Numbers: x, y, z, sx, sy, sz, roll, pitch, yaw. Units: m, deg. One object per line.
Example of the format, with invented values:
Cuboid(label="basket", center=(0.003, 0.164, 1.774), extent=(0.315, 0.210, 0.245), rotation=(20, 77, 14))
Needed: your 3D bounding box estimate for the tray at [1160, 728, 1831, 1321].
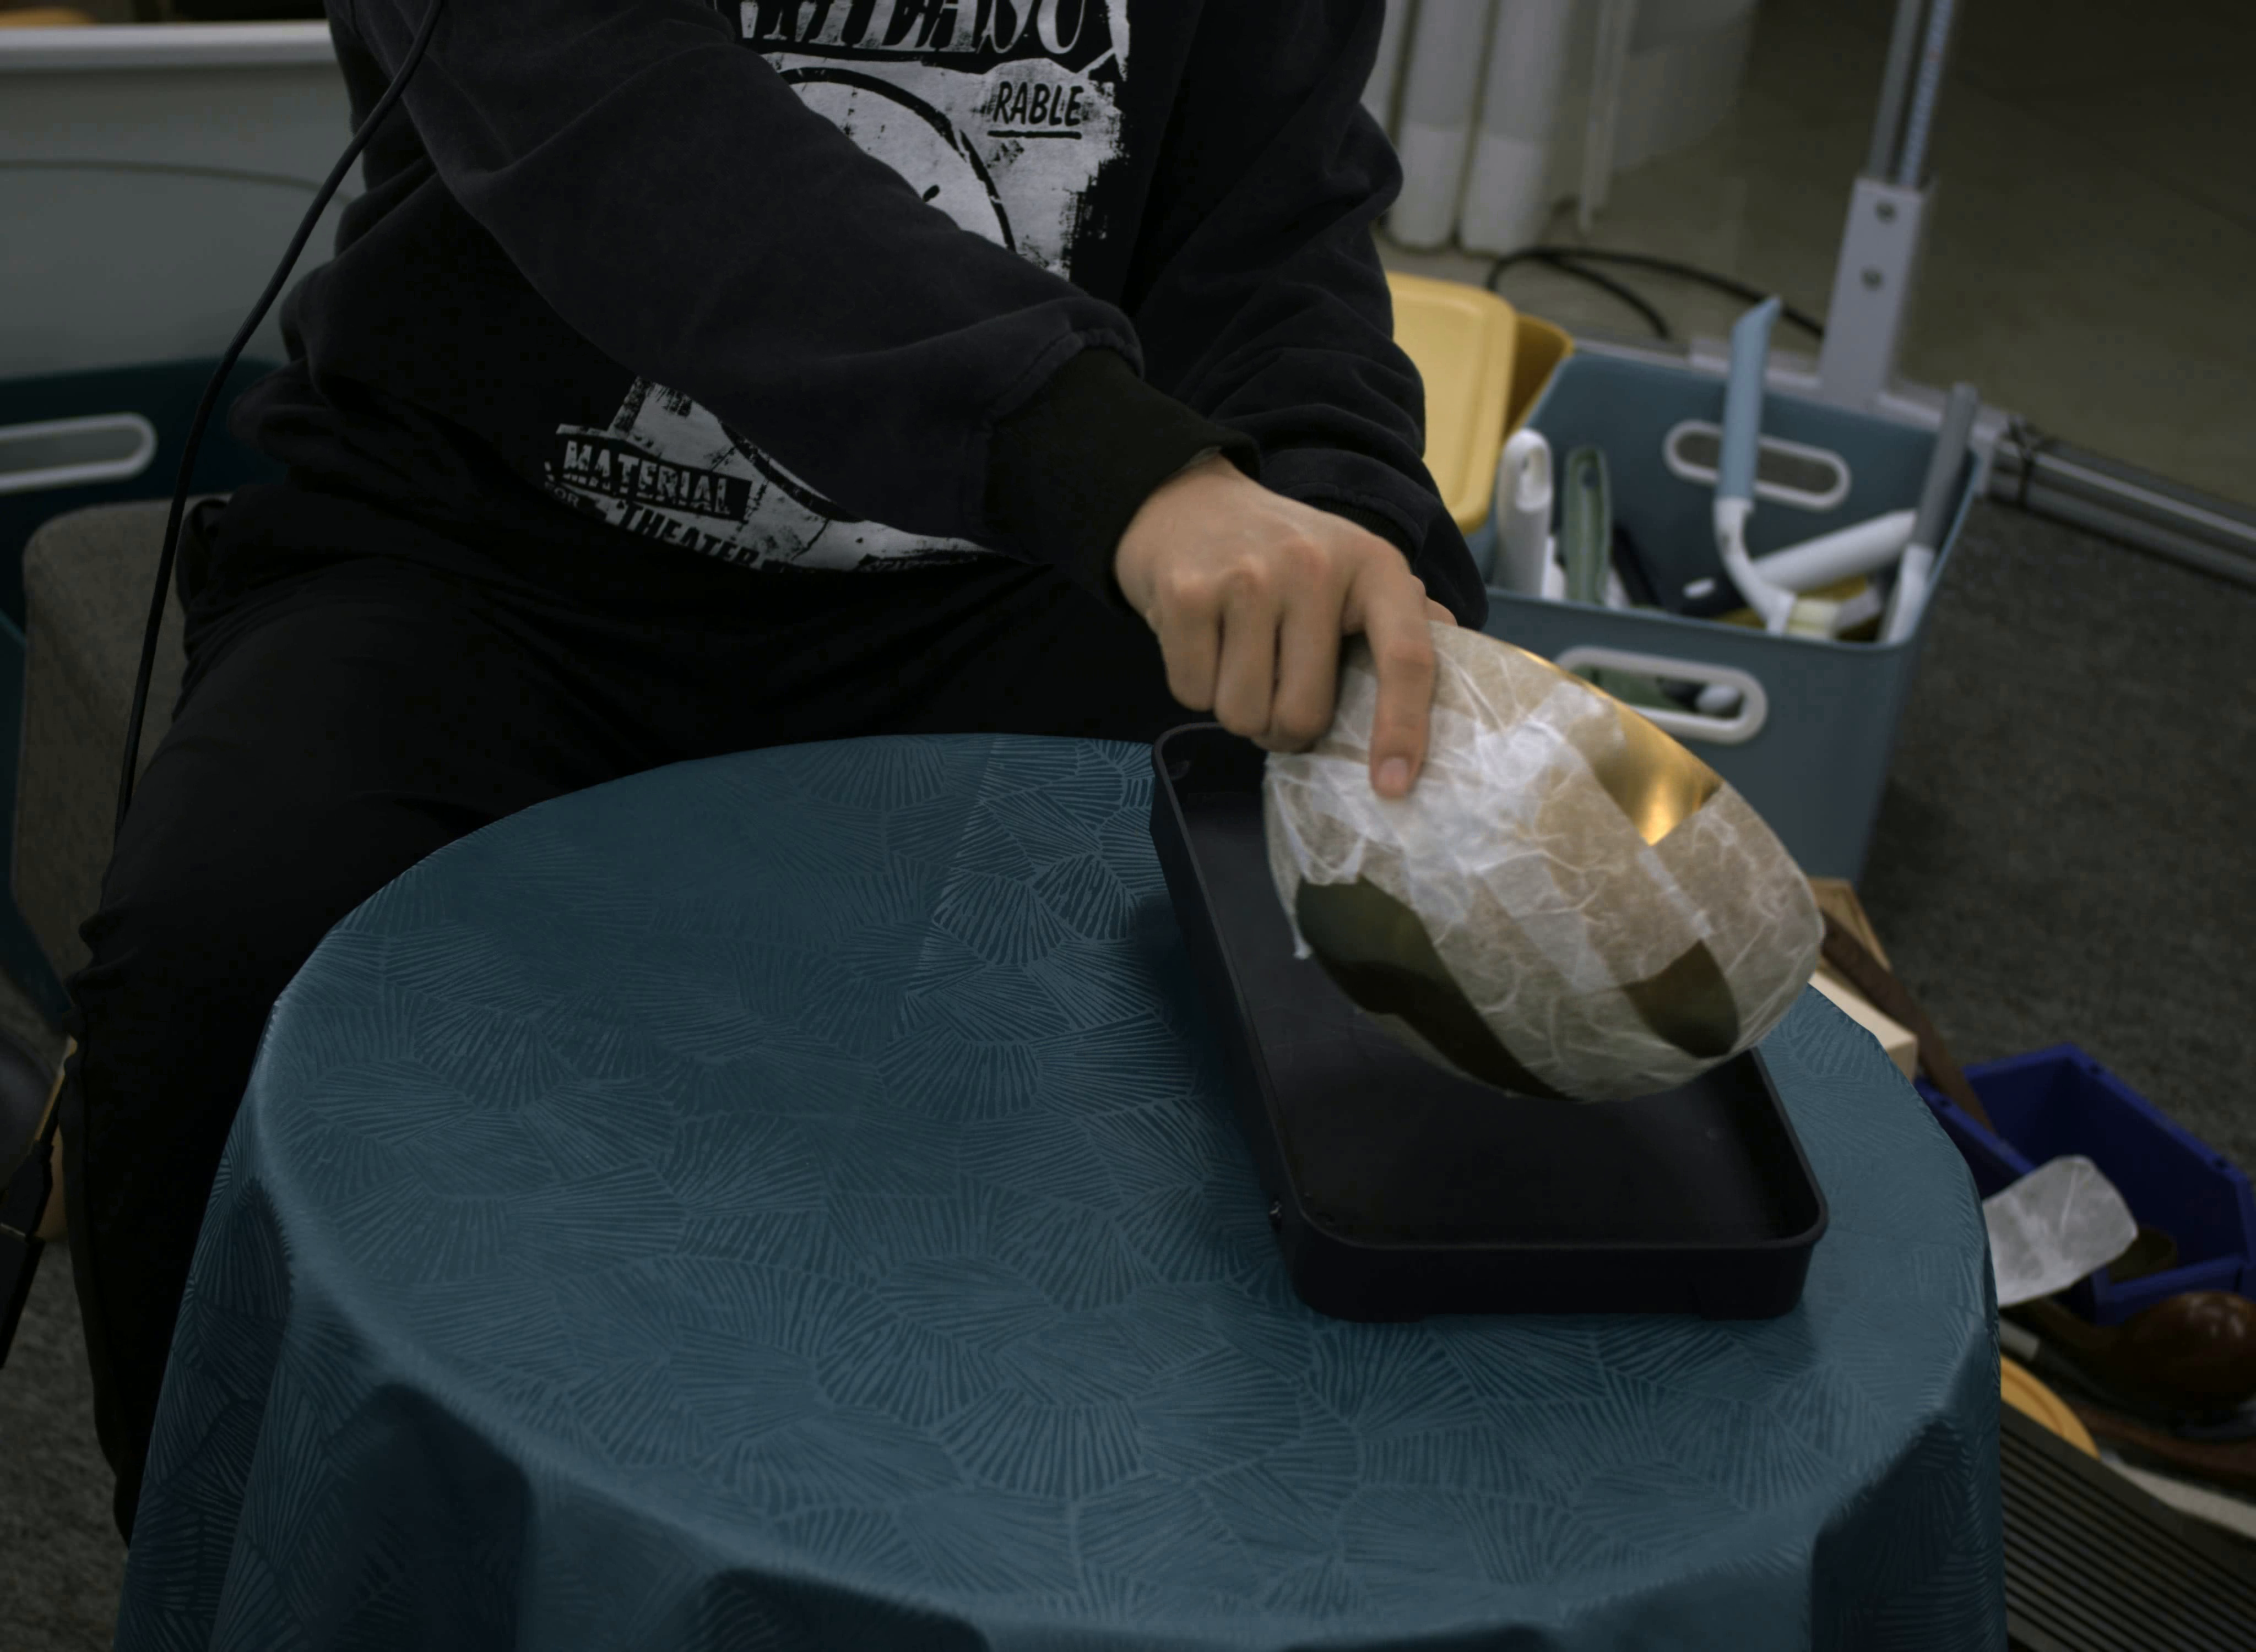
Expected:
Cuboid(label="tray", center=(0.121, 0.063, 1.871), extent=(0.183, 0.037, 0.320), rotation=(0, 33, -10))

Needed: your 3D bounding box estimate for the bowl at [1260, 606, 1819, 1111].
Cuboid(label="bowl", center=(0.118, 0.028, 1.776), extent=(0.216, 0.213, 0.095), rotation=(24, 65, 30))
